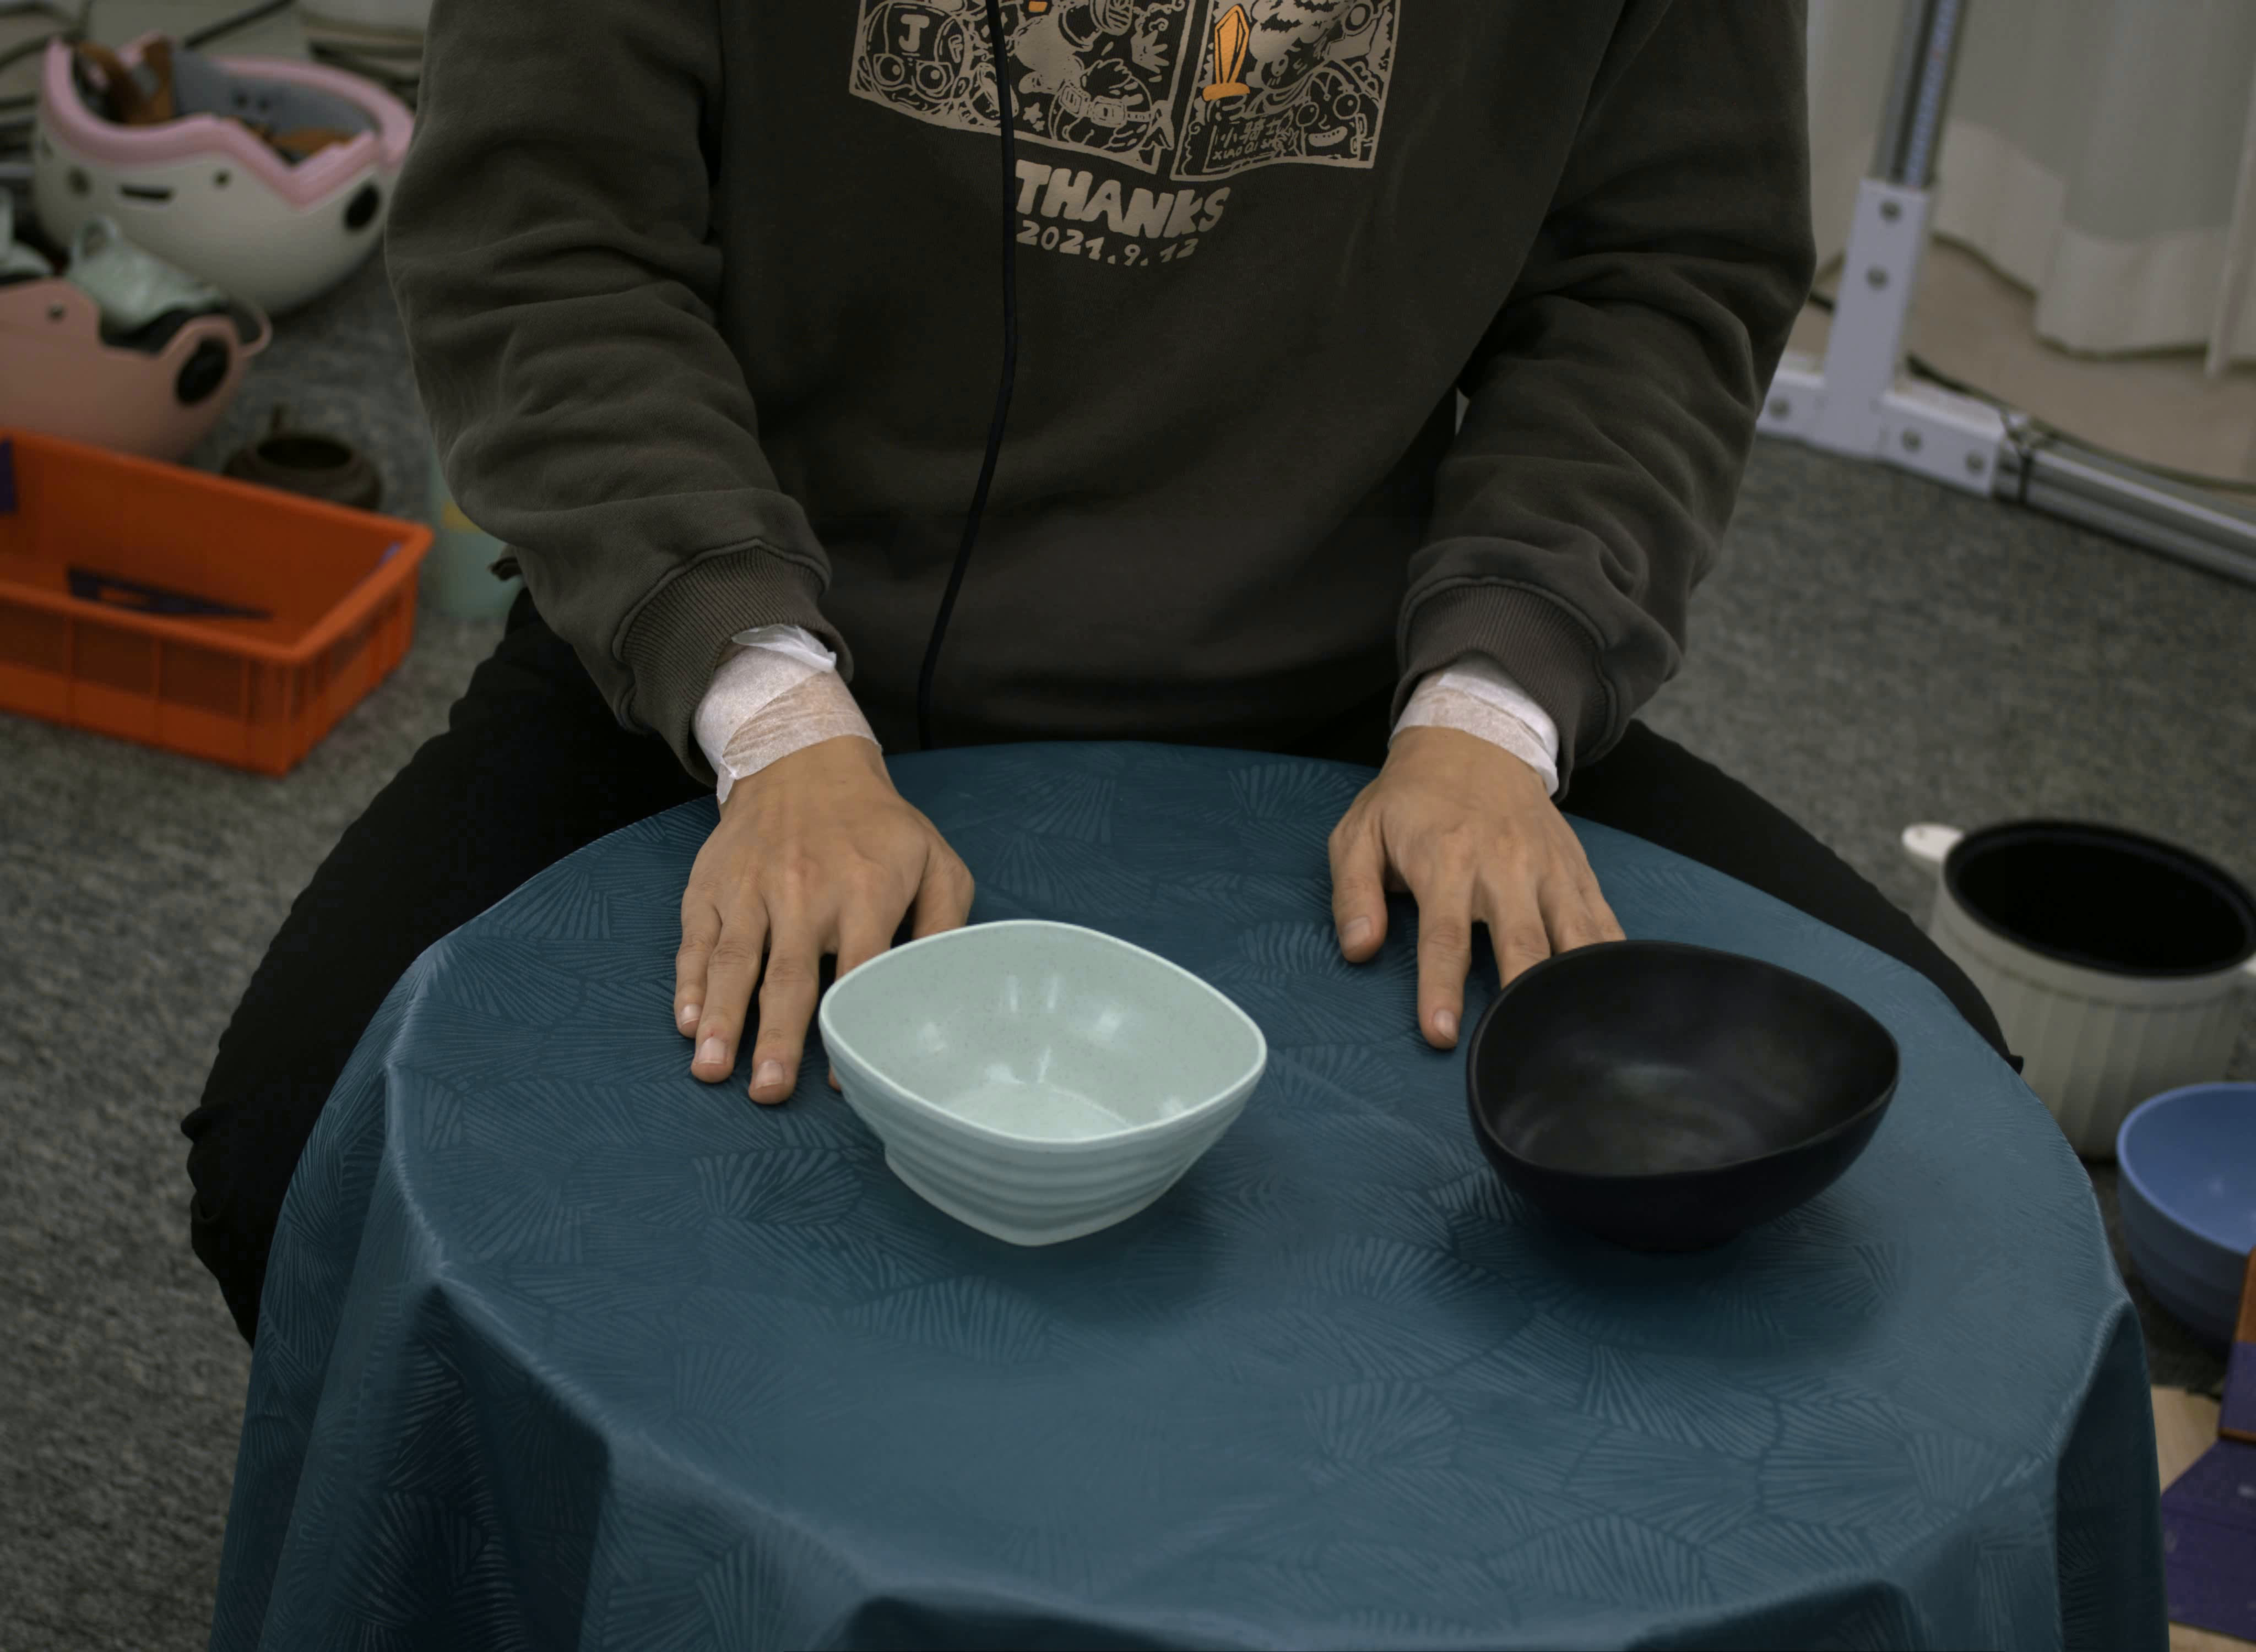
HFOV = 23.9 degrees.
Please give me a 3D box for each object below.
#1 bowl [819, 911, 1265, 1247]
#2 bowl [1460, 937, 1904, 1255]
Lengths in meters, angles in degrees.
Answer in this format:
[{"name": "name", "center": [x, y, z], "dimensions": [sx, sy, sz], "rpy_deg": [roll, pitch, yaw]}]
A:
[{"name": "bowl", "center": [-0.032, 0.091, 1.796], "dimensions": [0.151, 0.058, 0.152], "rpy_deg": [6, 29, -4]}, {"name": "bowl", "center": [0.186, 0.103, 1.817], "dimensions": [0.138, 0.066, 0.169], "rpy_deg": [27, 34, 35]}]
